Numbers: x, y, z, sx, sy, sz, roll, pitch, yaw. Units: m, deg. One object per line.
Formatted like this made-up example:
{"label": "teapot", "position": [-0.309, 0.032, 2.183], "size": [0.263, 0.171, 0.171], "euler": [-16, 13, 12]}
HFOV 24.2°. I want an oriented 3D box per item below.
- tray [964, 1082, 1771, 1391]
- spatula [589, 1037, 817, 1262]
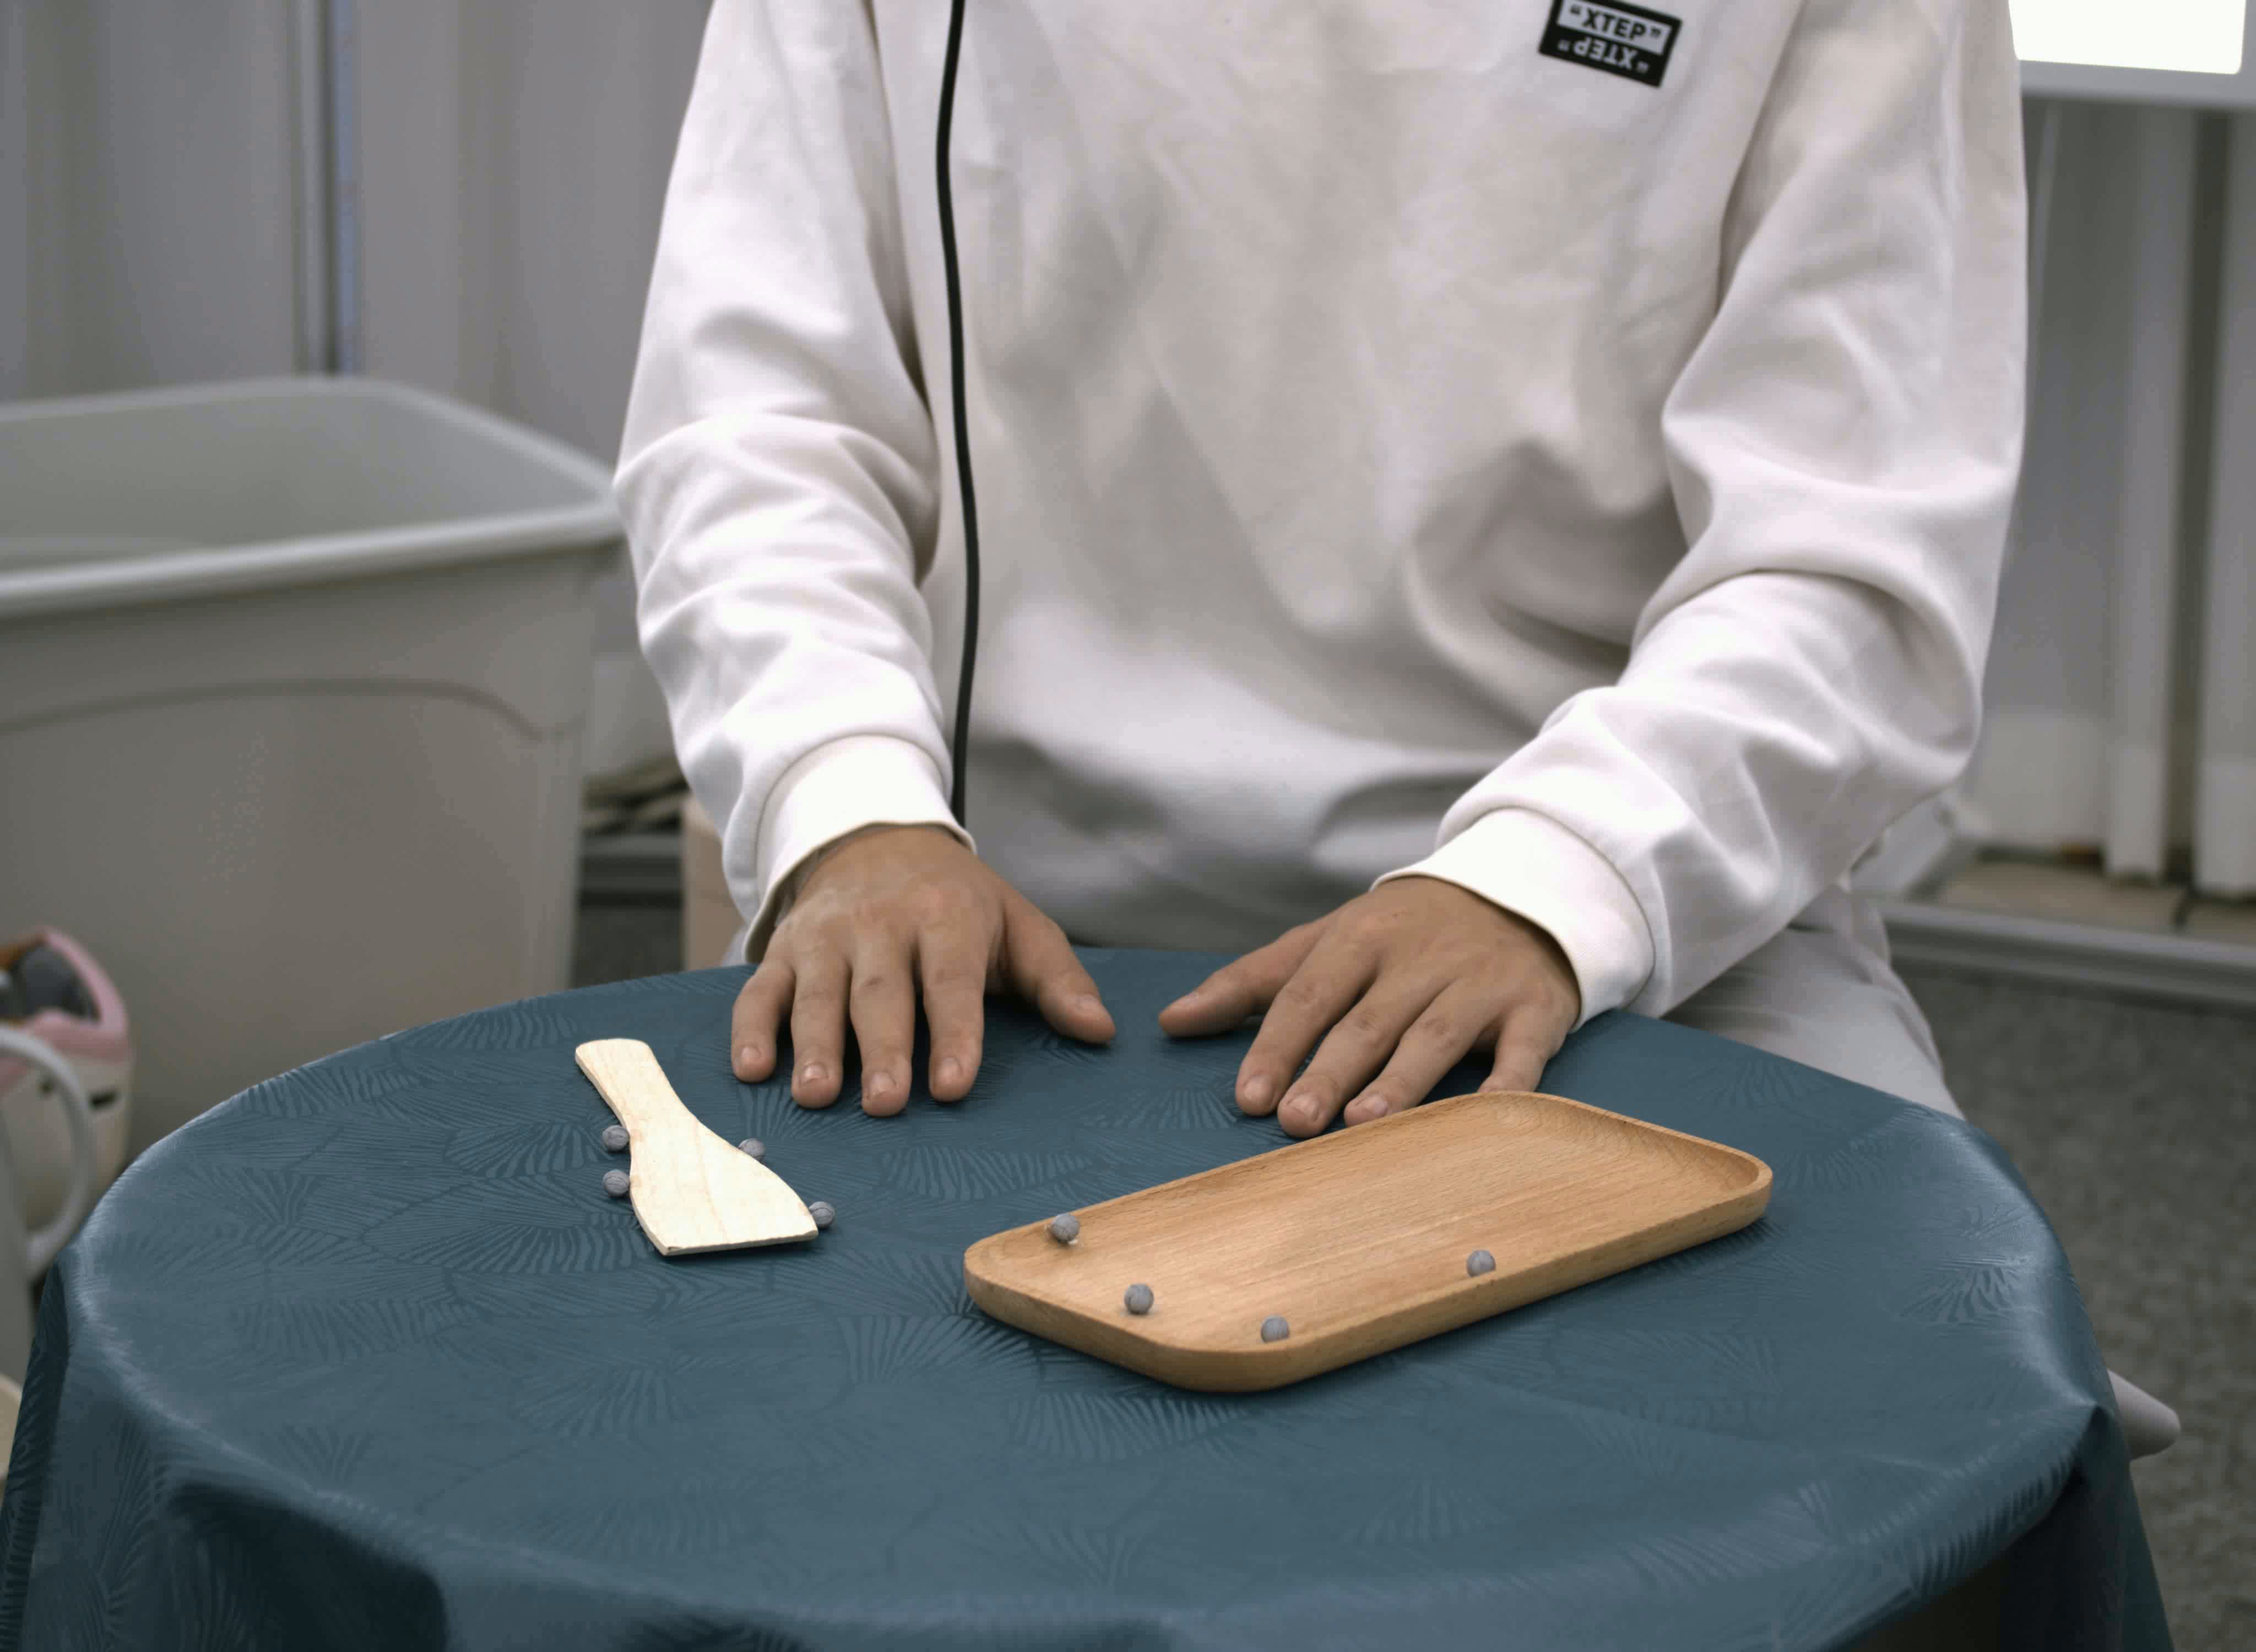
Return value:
{"label": "tray", "position": [0.074, 0.120, 1.572], "size": [0.252, 0.023, 0.129], "euler": [-13, 23, -42]}
{"label": "spatula", "position": [-0.141, 0.099, 1.655], "size": [0.050, 0.005, 0.206], "euler": [-3, 16, -15]}
